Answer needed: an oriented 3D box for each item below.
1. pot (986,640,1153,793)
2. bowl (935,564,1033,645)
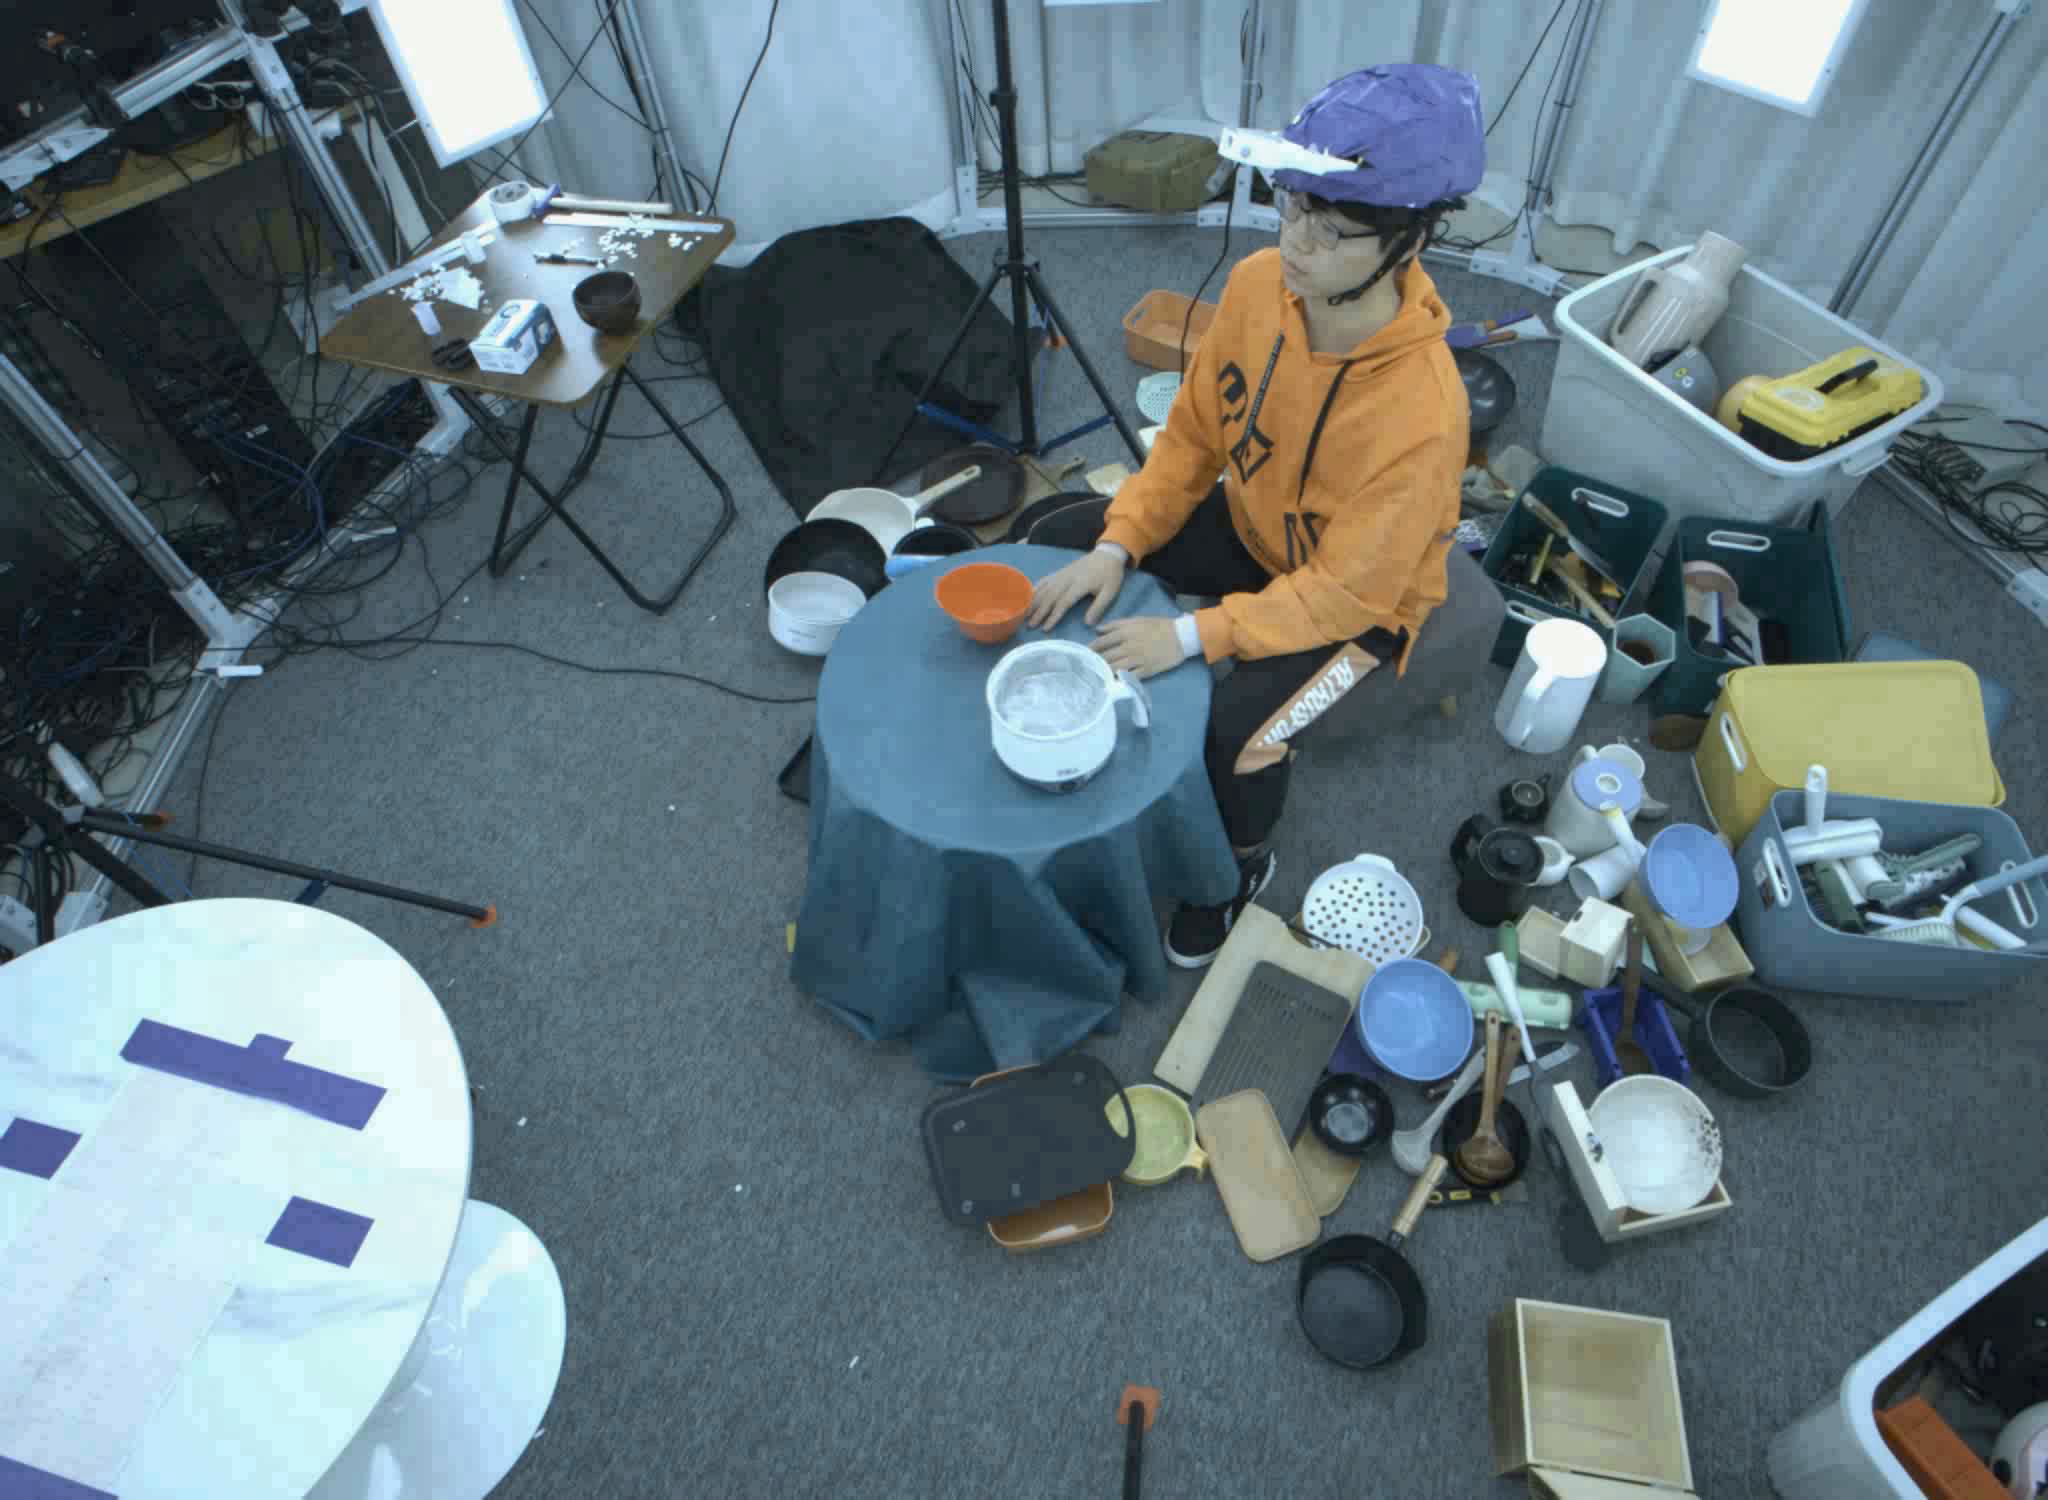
[{"bbox_3d":[0.067,-0.053,1.737,0.235,0.138,0.176,-13,56,-6],"label":"pot"},{"bbox_3d":[-0.058,-0.211,1.880,0.148,0.106,0.146,0,53,2],"label":"bowl"}]
